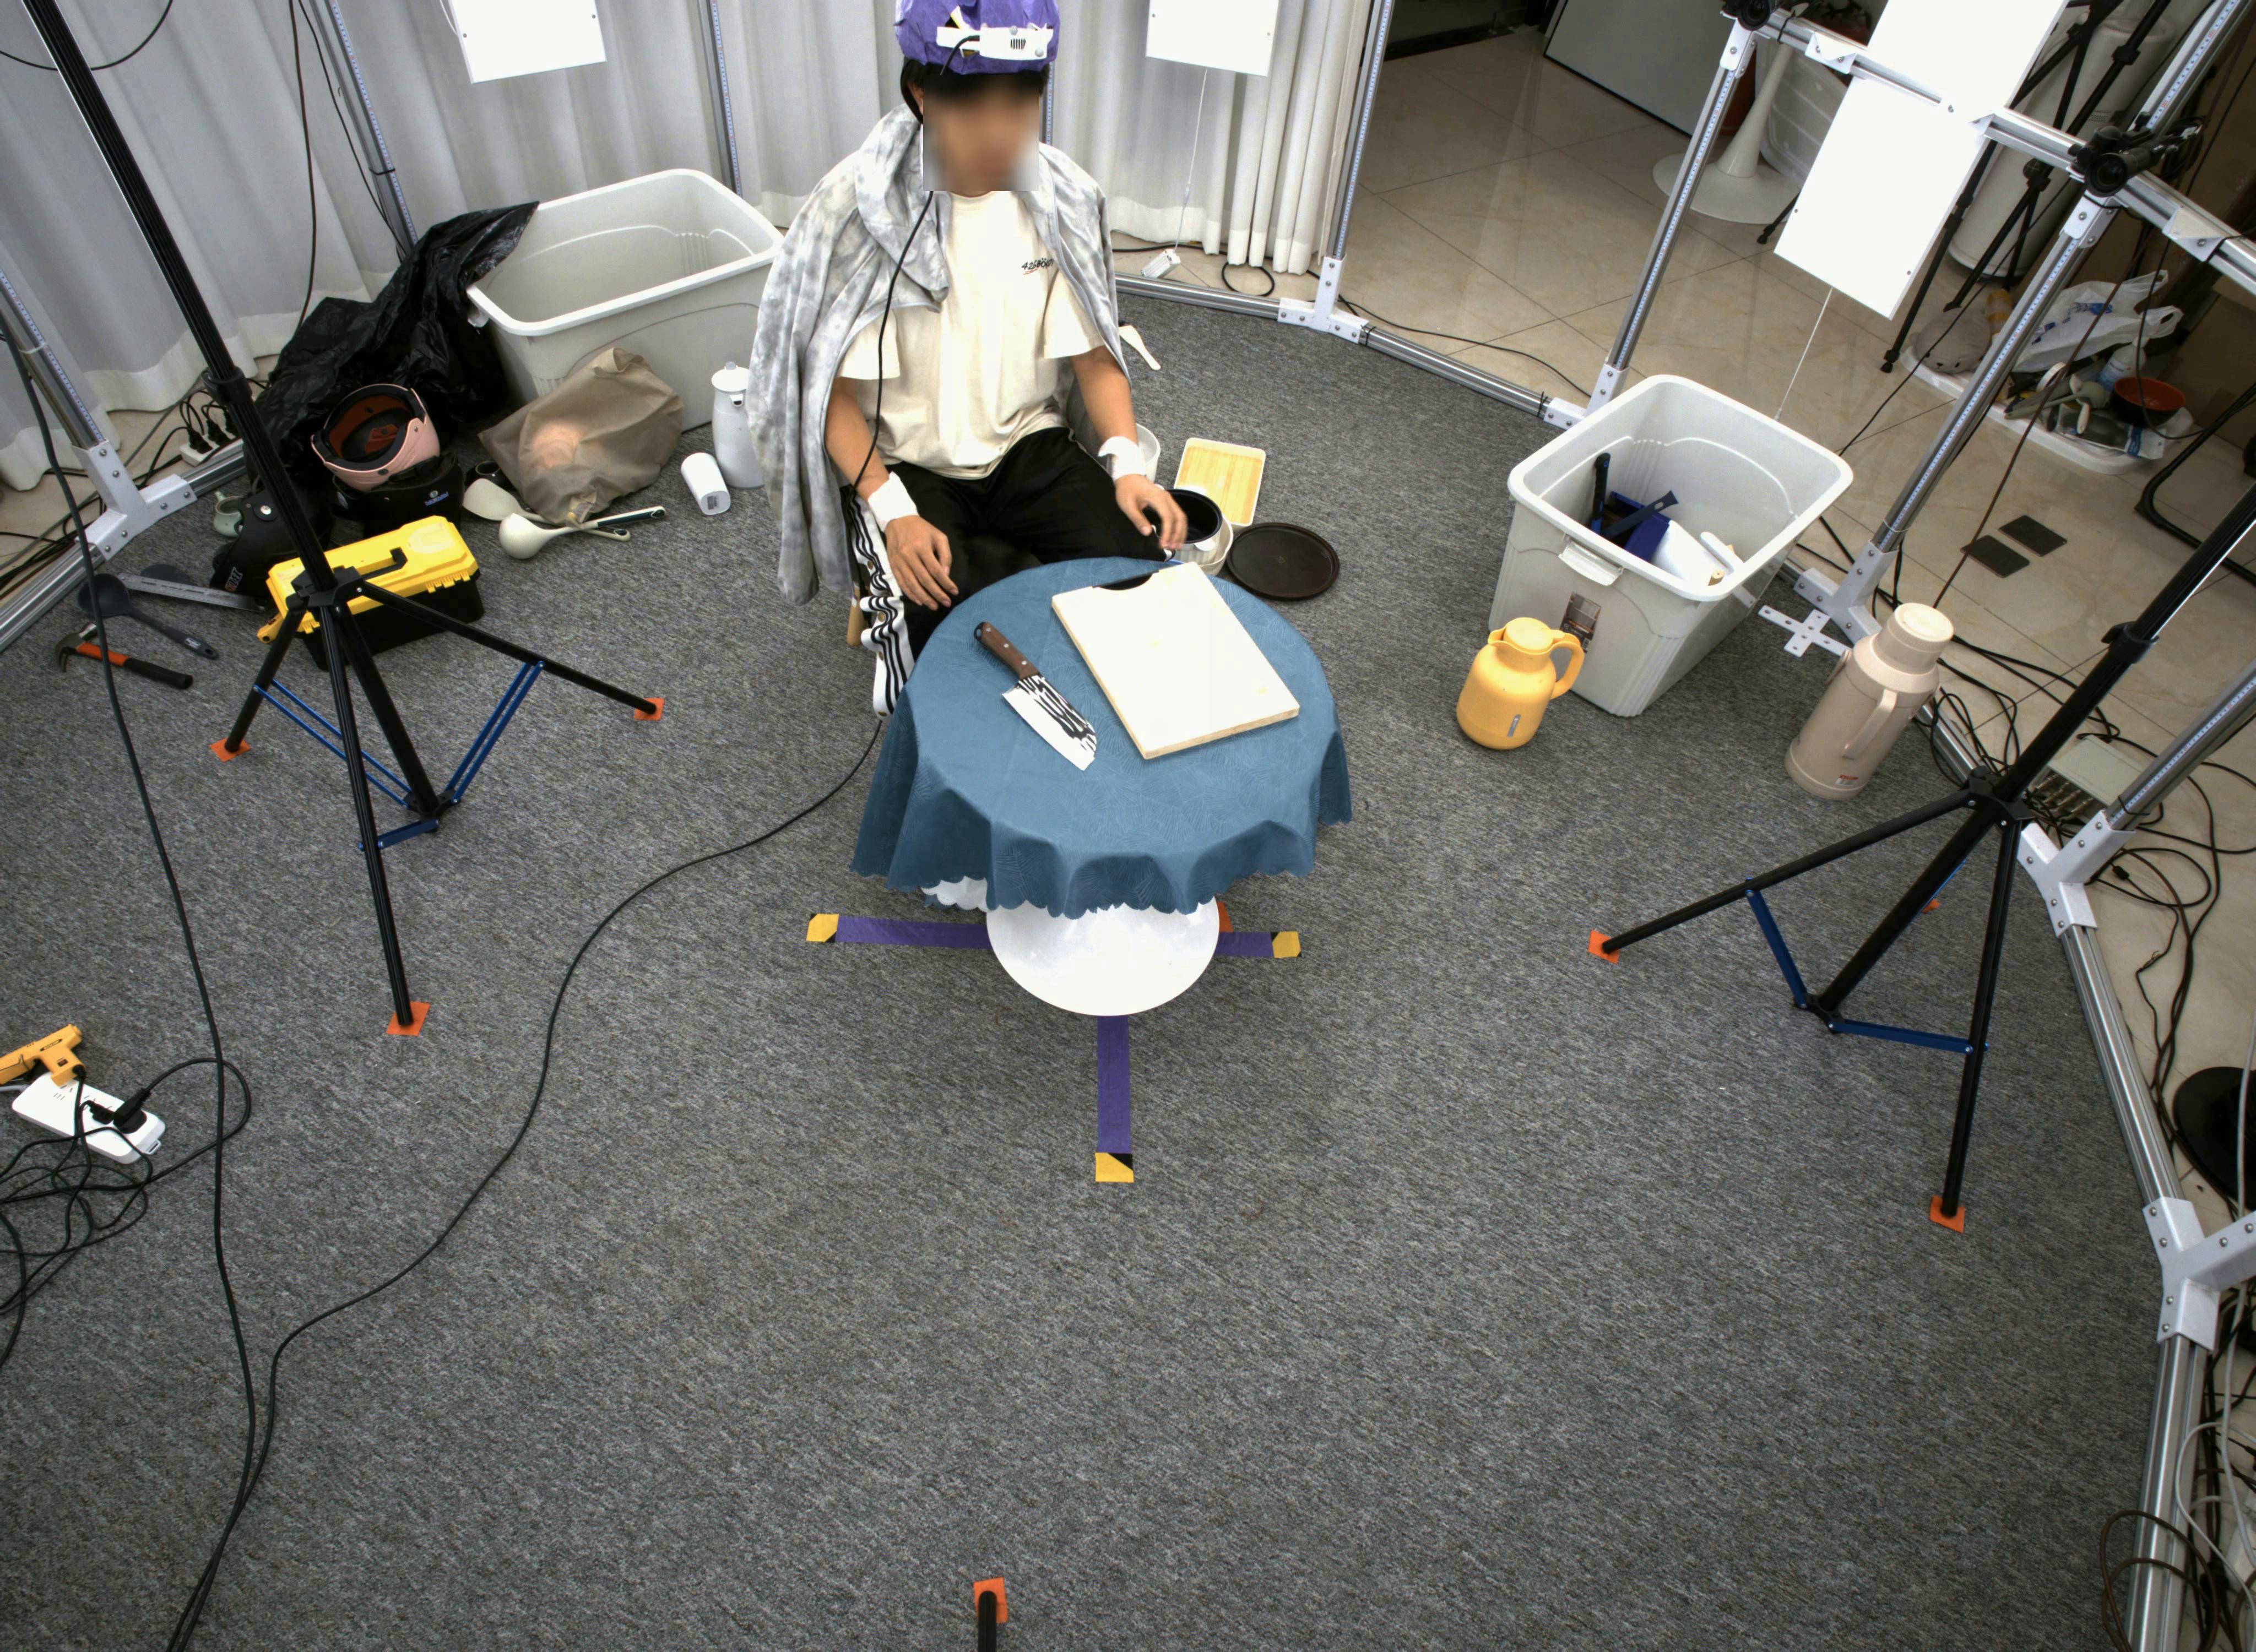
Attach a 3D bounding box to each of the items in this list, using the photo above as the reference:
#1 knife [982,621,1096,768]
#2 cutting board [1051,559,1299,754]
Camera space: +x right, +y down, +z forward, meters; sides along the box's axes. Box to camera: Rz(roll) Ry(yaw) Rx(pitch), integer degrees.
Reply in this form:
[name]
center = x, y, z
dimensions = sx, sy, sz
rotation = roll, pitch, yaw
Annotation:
[knife]
center = -0.134, -0.187, 1.801
dimensions = 0.068, 0.023, 0.305
rotation = -29, 59, -24
[cutting board]
center = 0.063, -0.255, 1.877
dimensions = 0.251, 0.023, 0.356
rotation = -17, 52, -18
